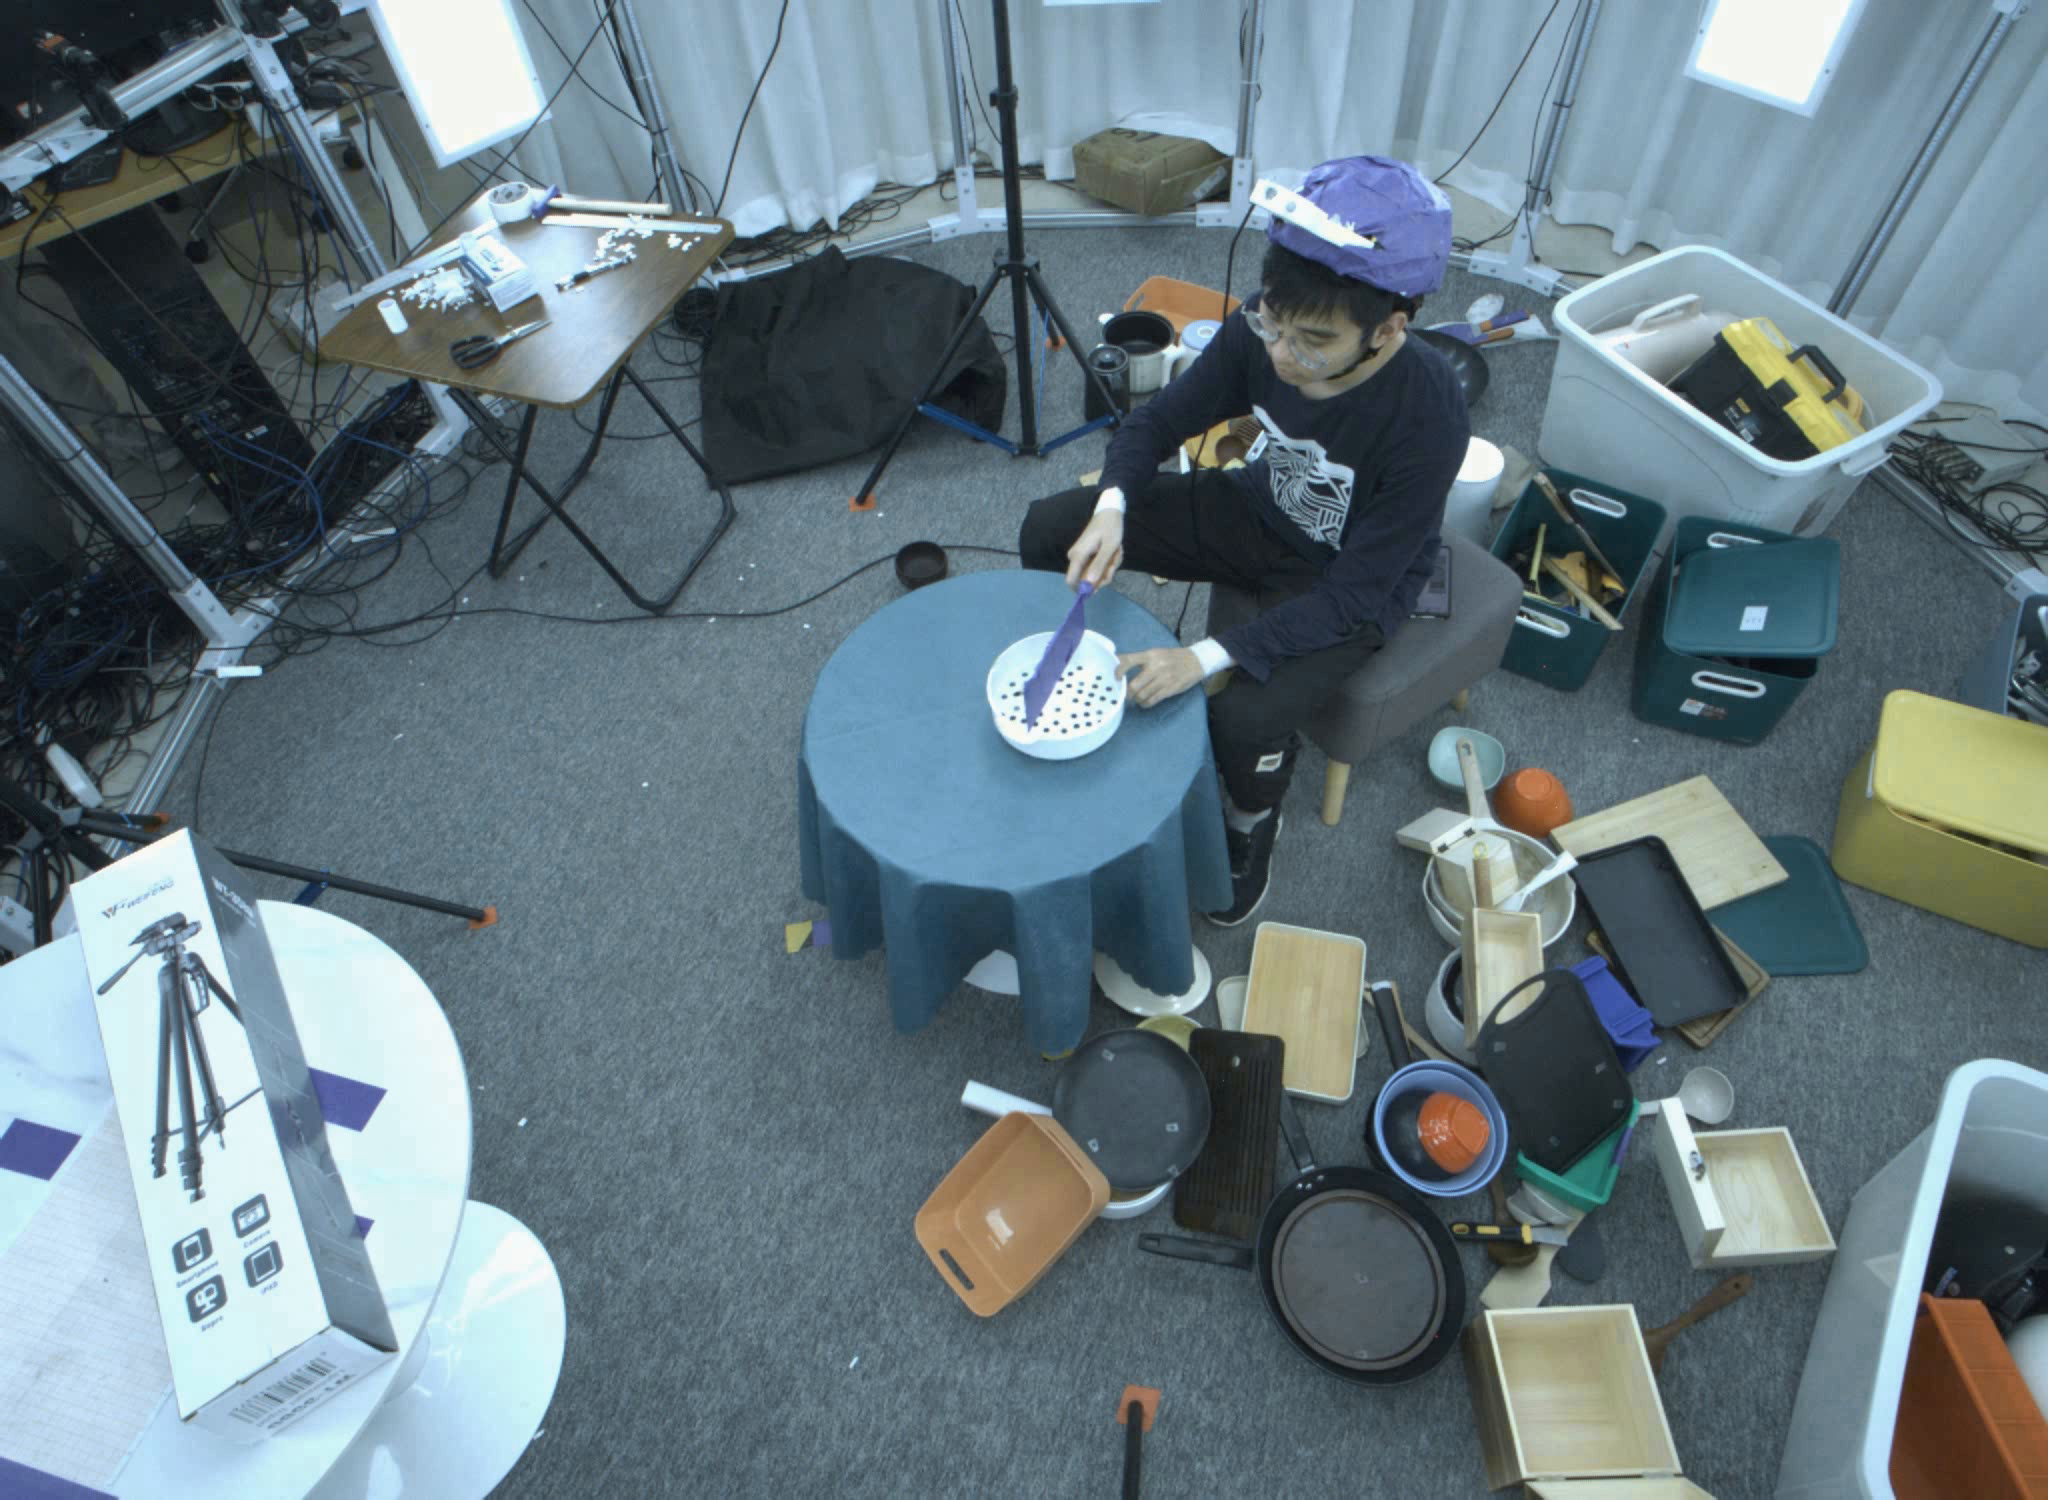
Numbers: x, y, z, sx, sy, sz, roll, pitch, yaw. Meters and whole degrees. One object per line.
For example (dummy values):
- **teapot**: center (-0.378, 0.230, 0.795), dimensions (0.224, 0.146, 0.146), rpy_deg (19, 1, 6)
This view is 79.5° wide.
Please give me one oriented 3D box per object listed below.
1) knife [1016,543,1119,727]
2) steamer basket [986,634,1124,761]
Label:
- **knife**: center (0.061, -0.168, 1.773), dimensions (0.032, 0.105, 0.316), rpy_deg (21, 57, 17)
- **steamer basket**: center (0.045, -0.075, 1.808), dimensions (0.199, 0.070, 0.232), rpy_deg (30, 58, 19)
